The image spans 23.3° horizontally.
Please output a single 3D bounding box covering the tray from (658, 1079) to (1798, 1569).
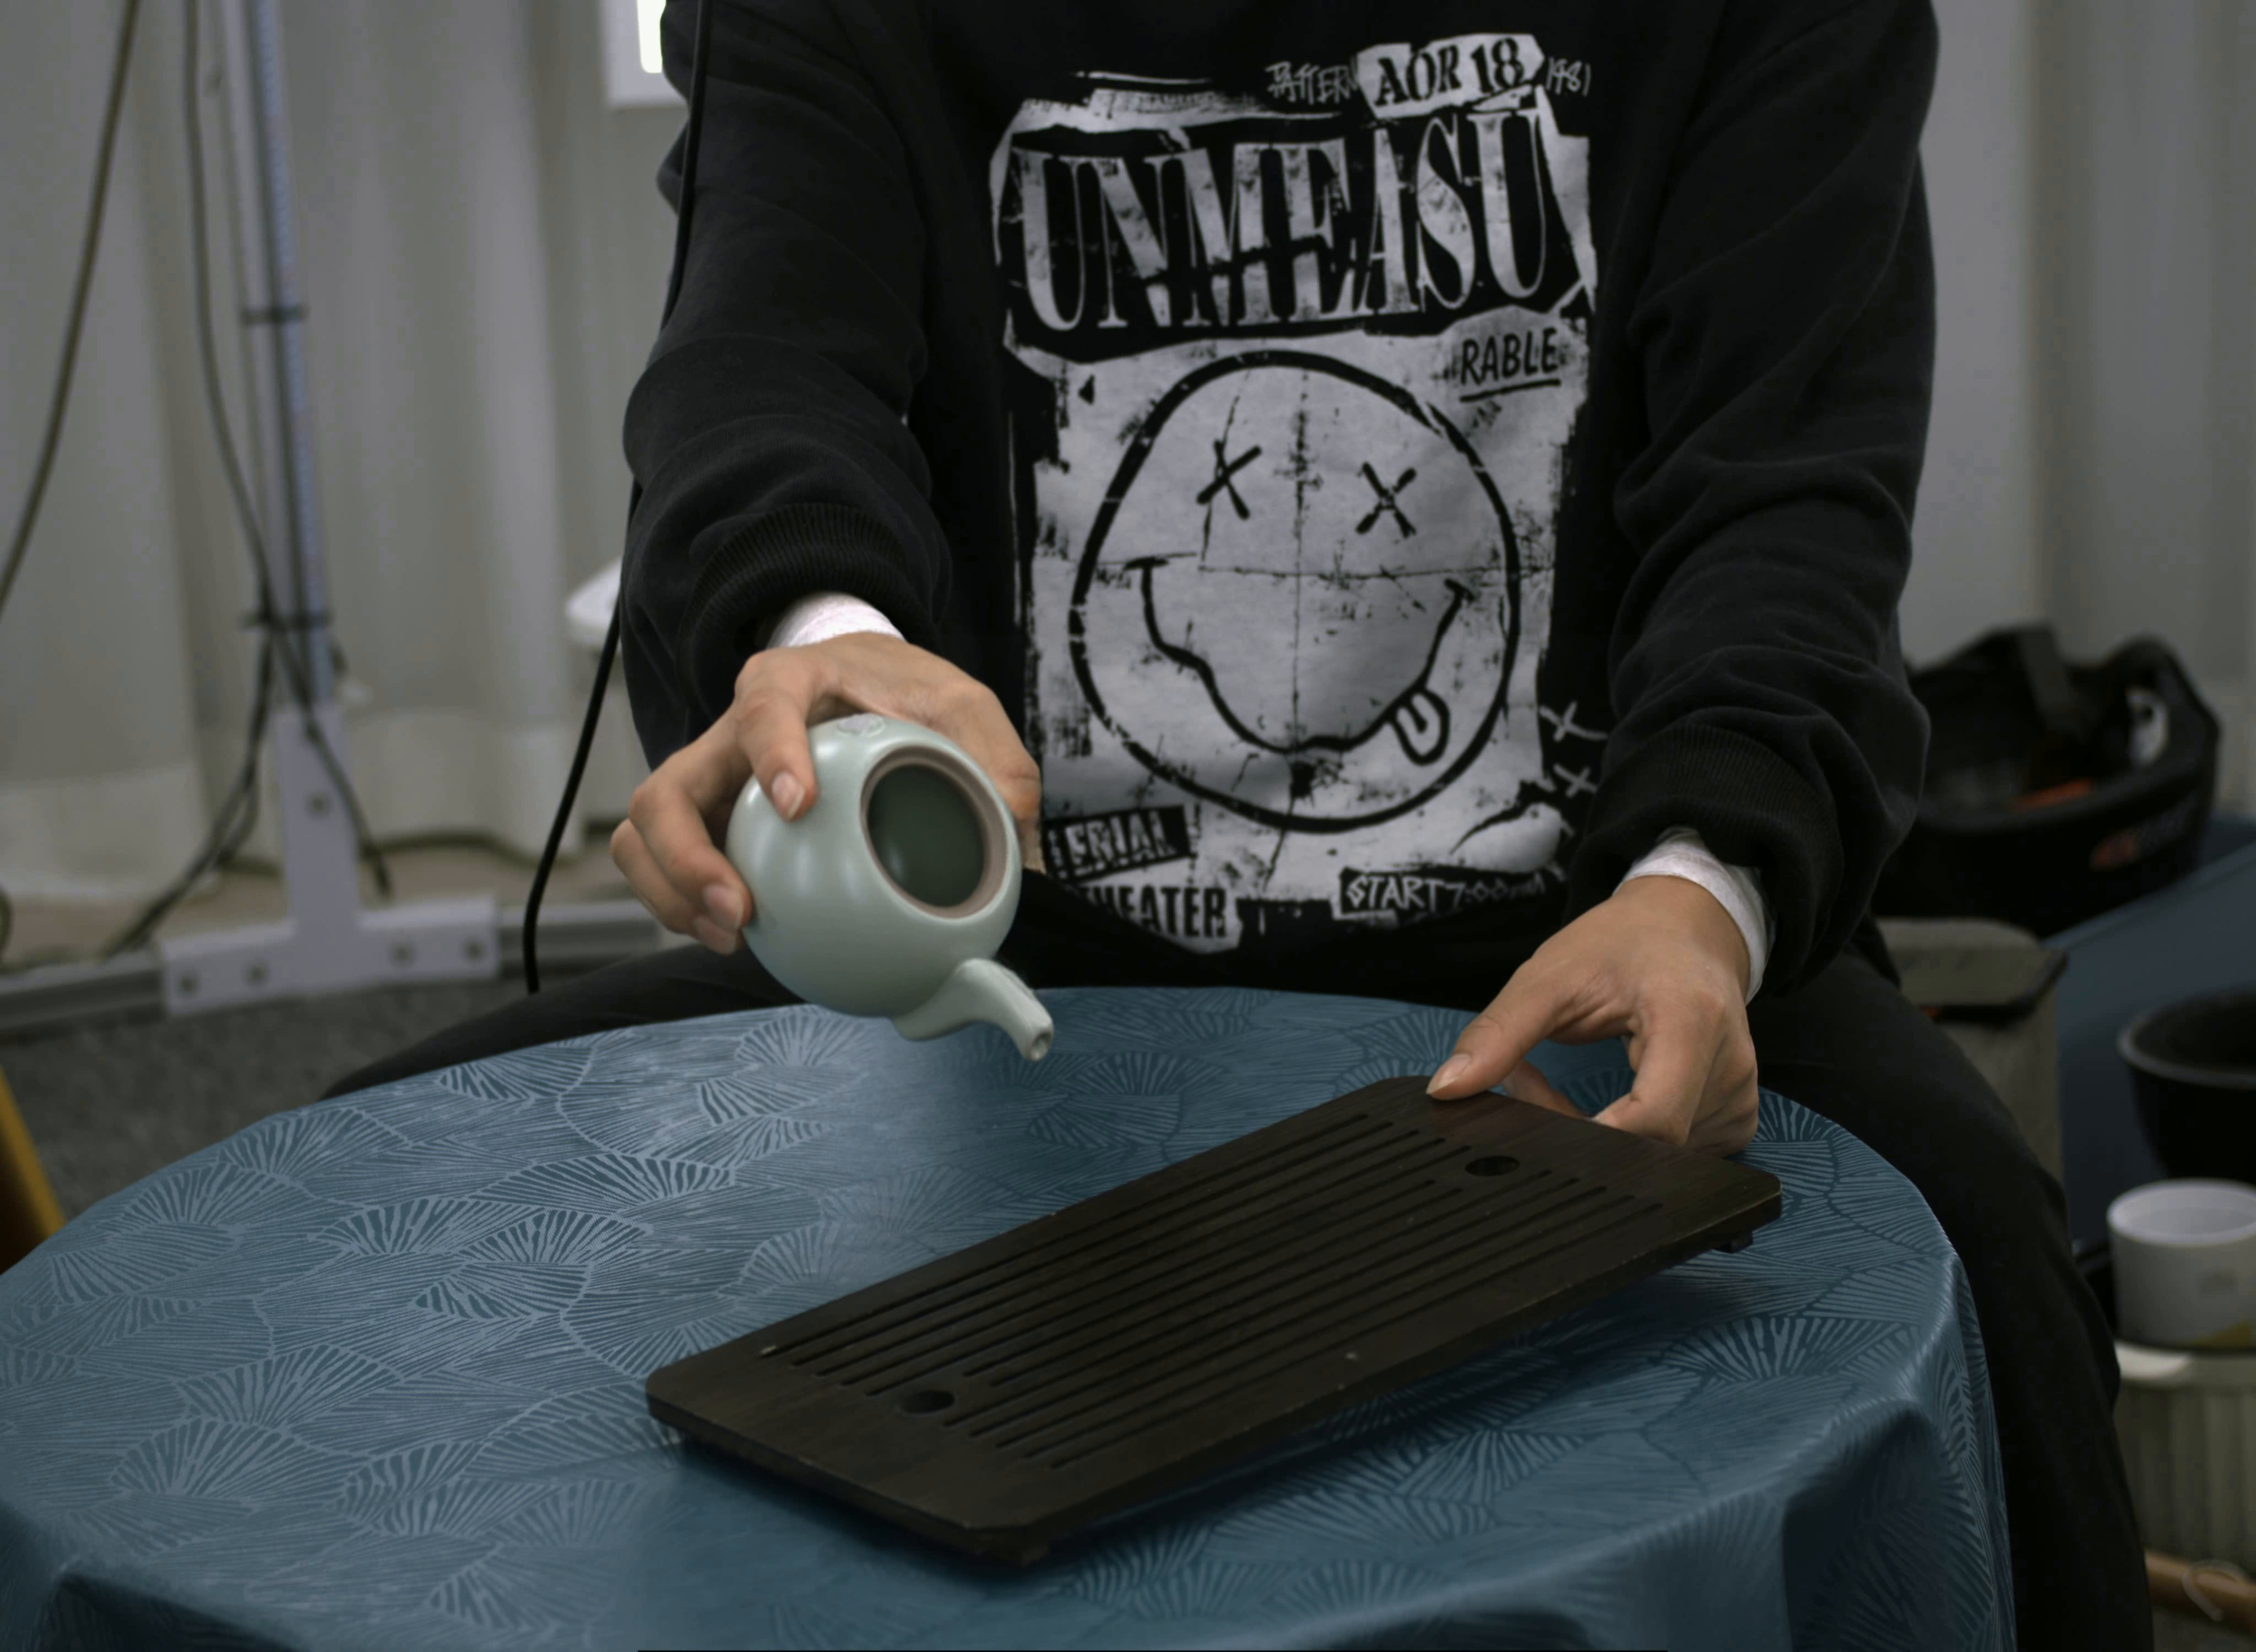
[{"bbox_3d":[0.032,0.138,1.553,0.305,0.018,0.171,-19,21,-36],"label":"tray"}]

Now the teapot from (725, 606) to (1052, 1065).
[{"bbox_3d":[-0.073,0.011,1.583,0.088,0.144,0.074,-19,-4,-46],"label":"teapot"}]
